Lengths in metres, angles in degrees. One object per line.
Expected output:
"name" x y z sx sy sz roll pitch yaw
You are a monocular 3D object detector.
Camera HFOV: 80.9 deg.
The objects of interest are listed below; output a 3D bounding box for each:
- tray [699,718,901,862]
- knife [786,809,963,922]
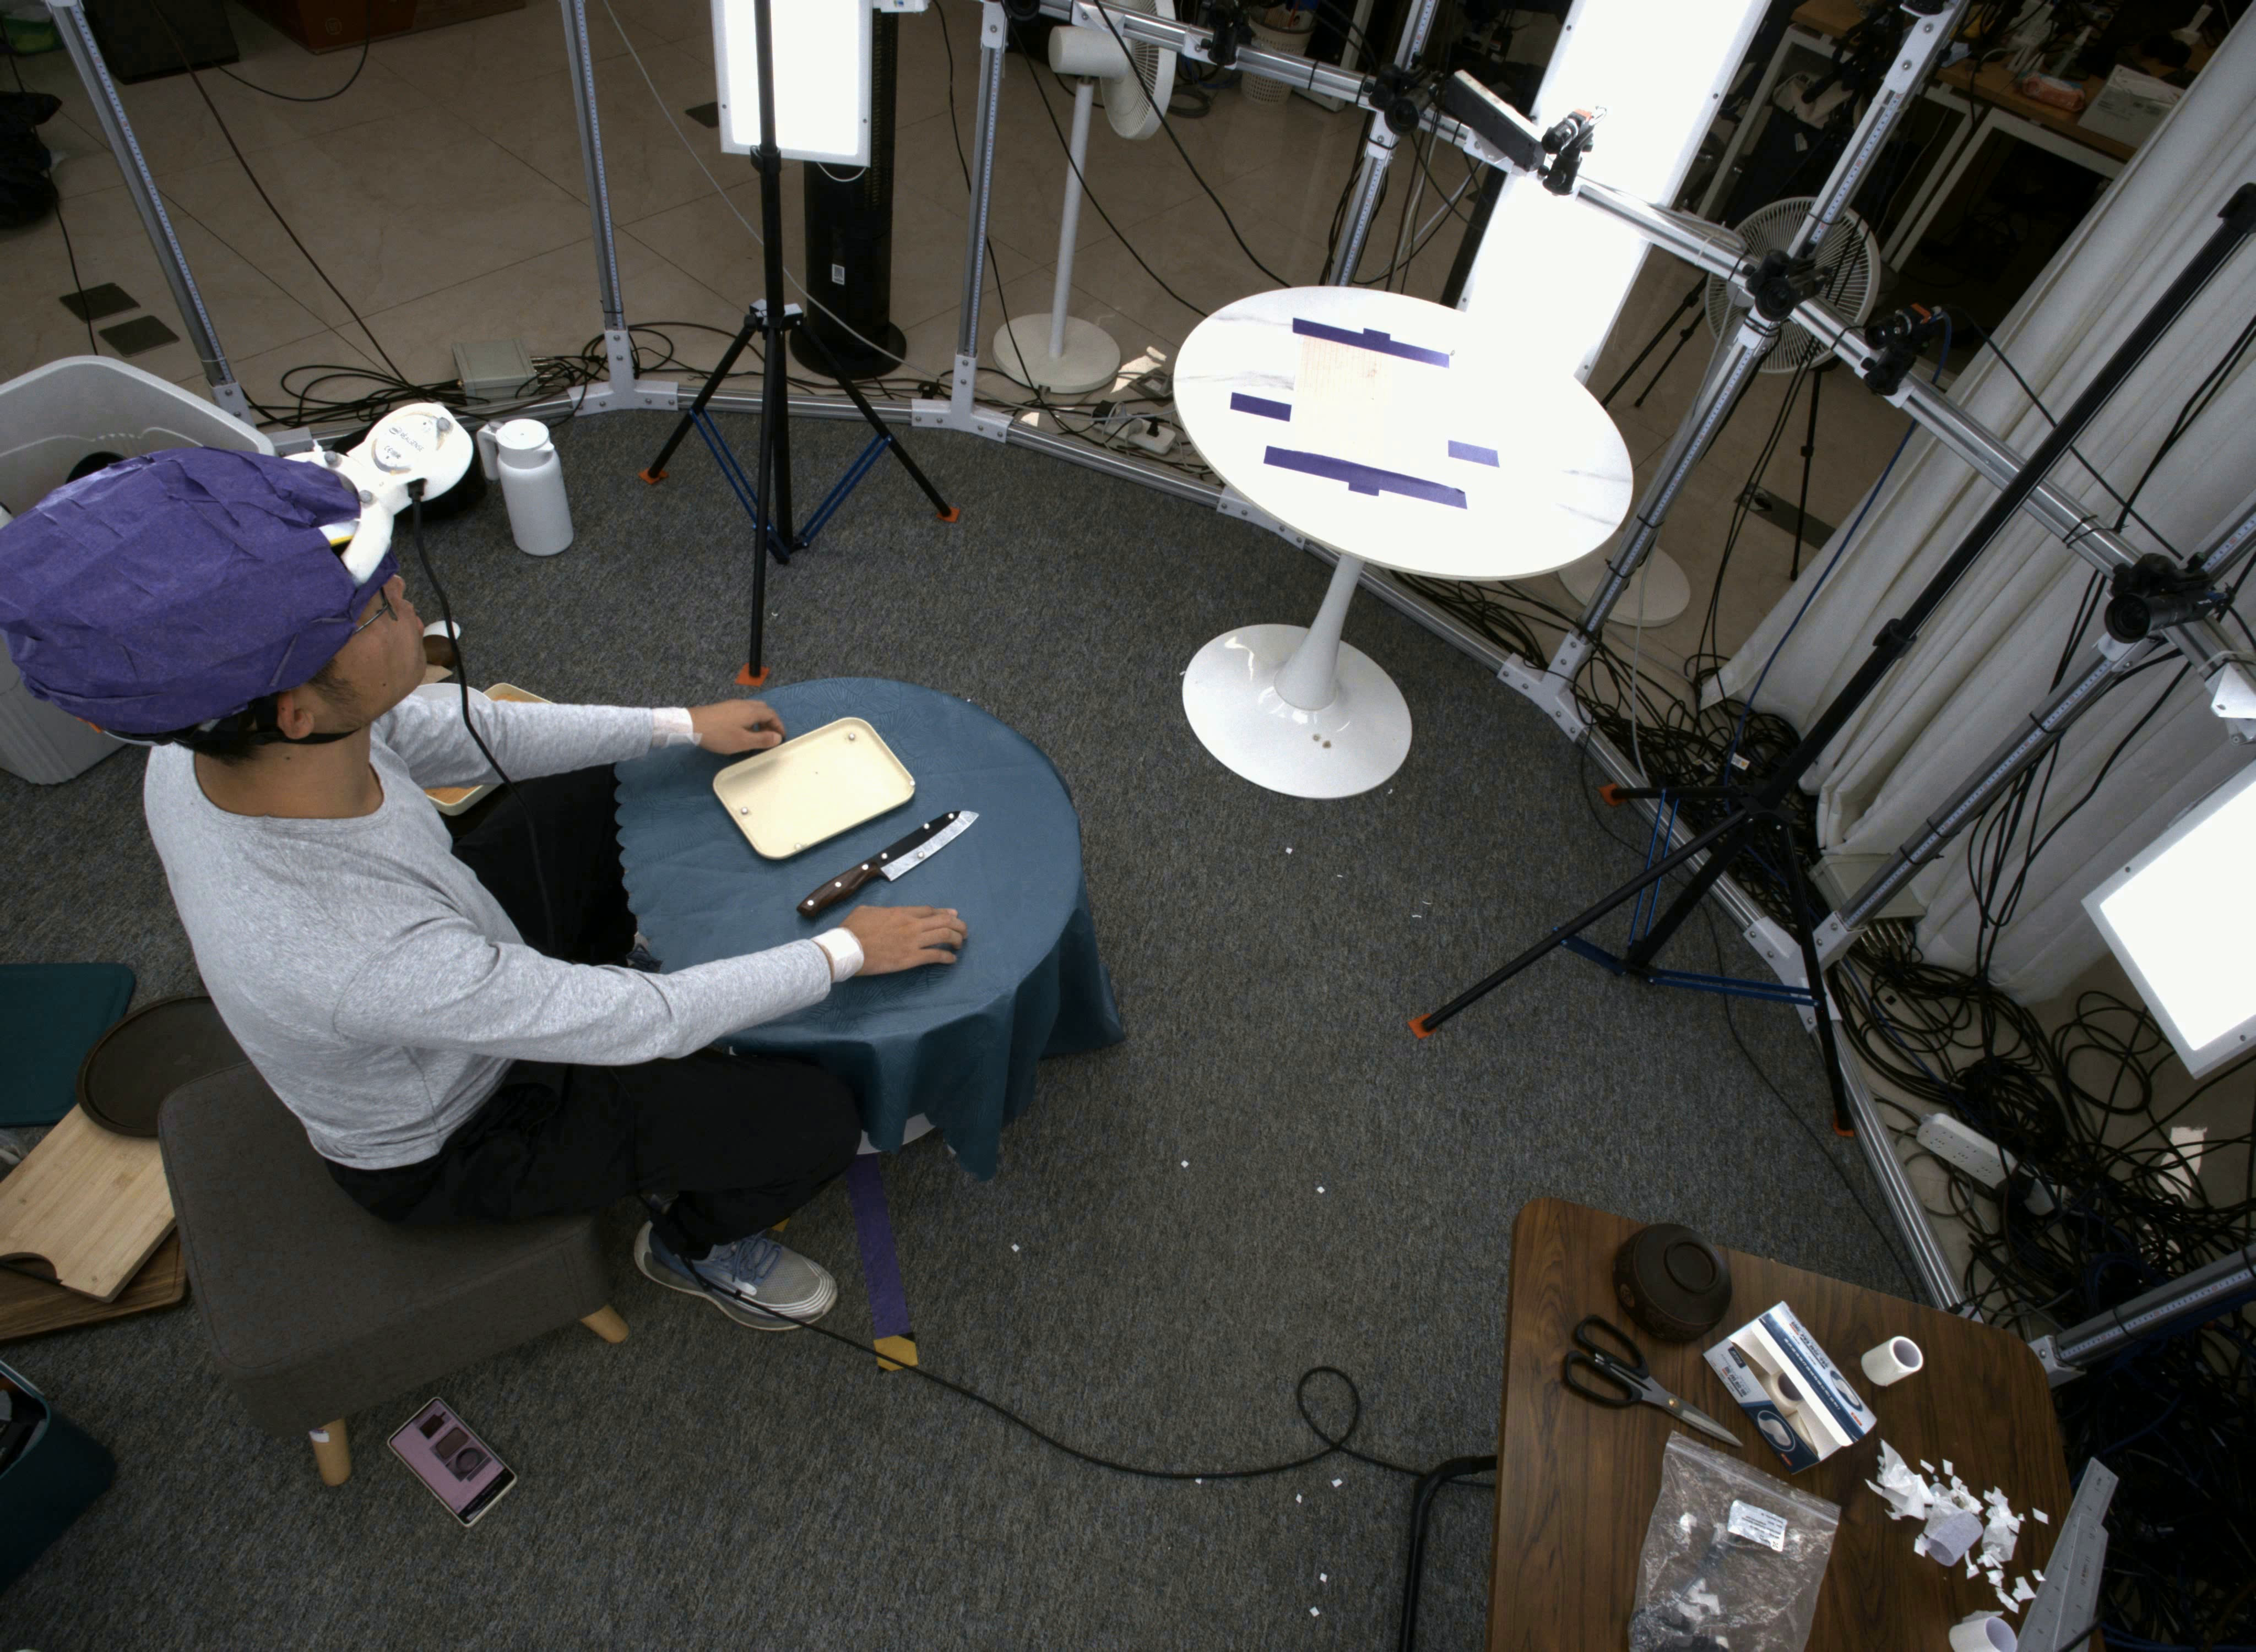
"tray" -0.443 -0.050 1.756 0.240 0.018 0.167 -29 65 -30
"knife" -0.329 0.046 1.716 0.290 0.020 0.049 -34 73 -35
